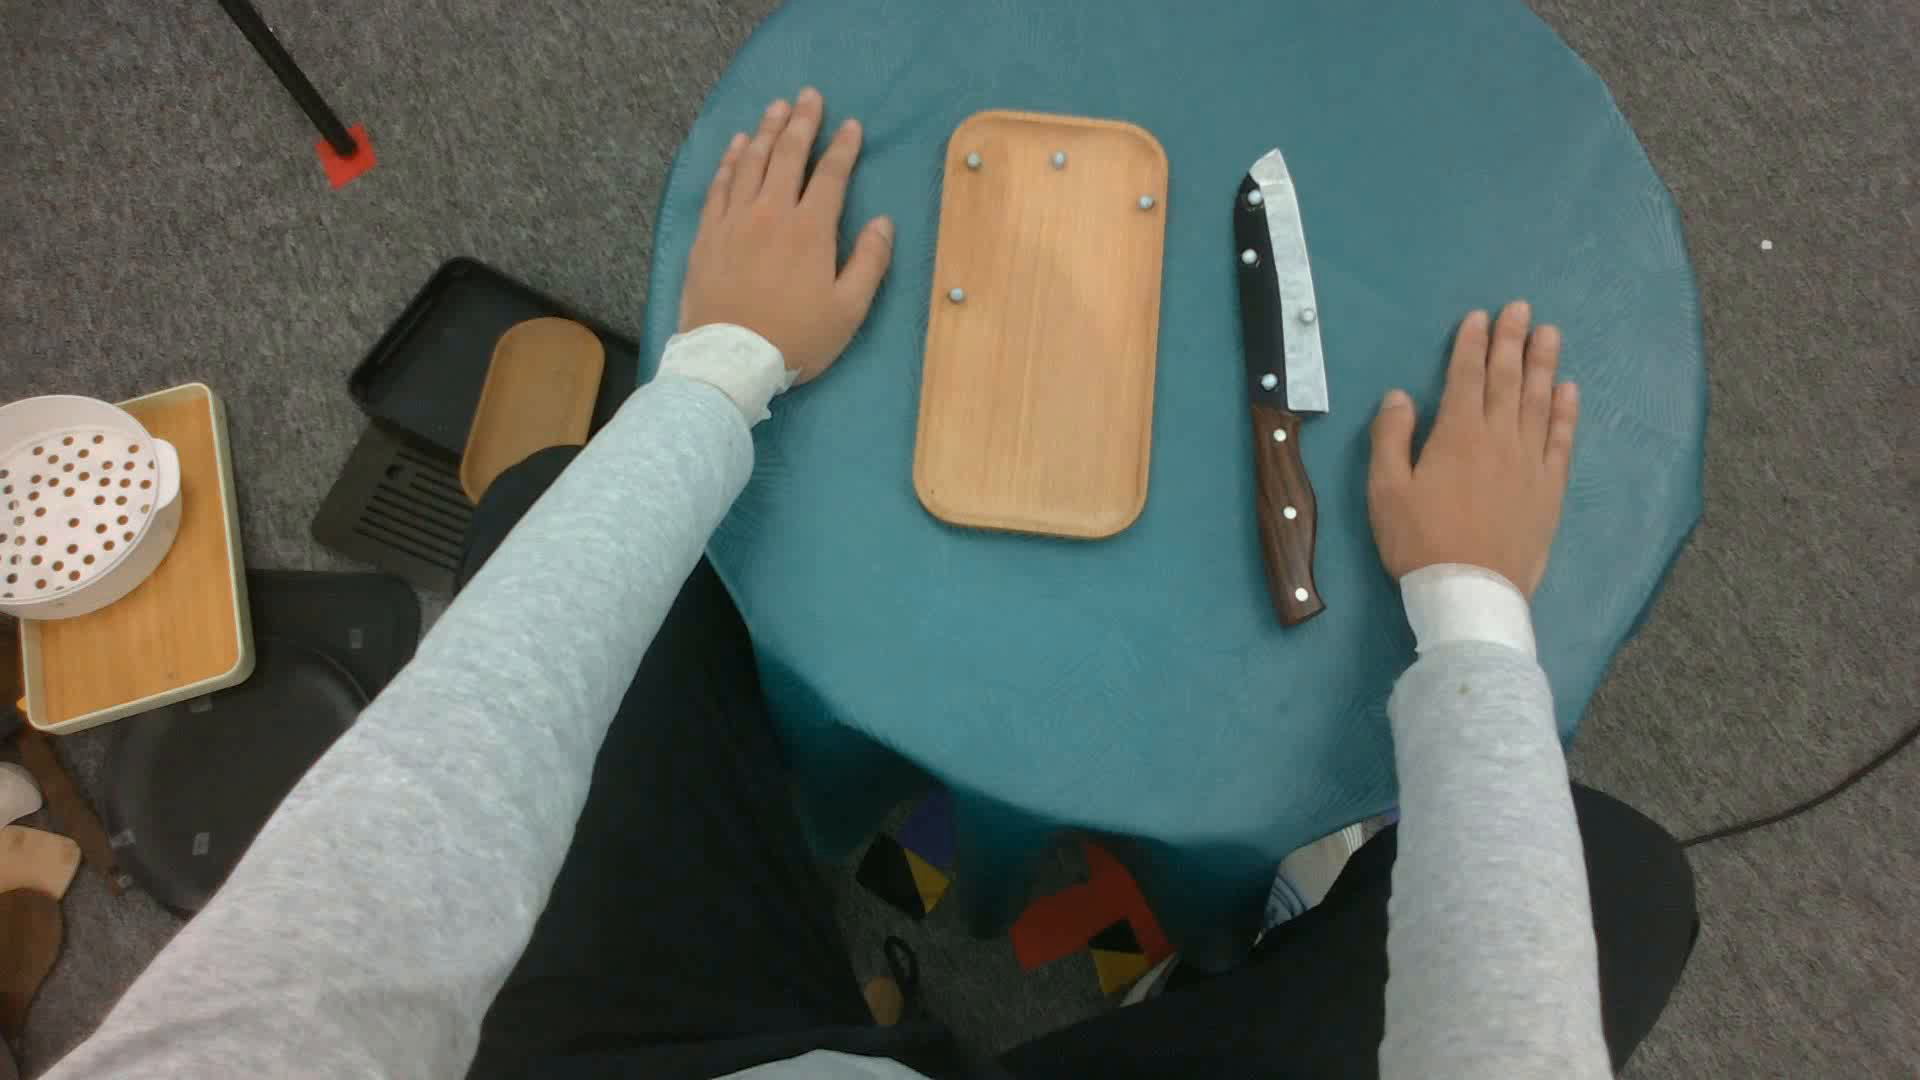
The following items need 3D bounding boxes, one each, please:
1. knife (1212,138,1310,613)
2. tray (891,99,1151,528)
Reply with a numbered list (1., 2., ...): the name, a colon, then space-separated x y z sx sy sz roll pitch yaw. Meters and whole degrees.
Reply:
1. knife: 0.169 -0.100 0.765 0.050 0.020 0.290 3 71 -7
2. tray: 0.037 -0.129 0.767 0.130 0.023 0.251 6 74 2
